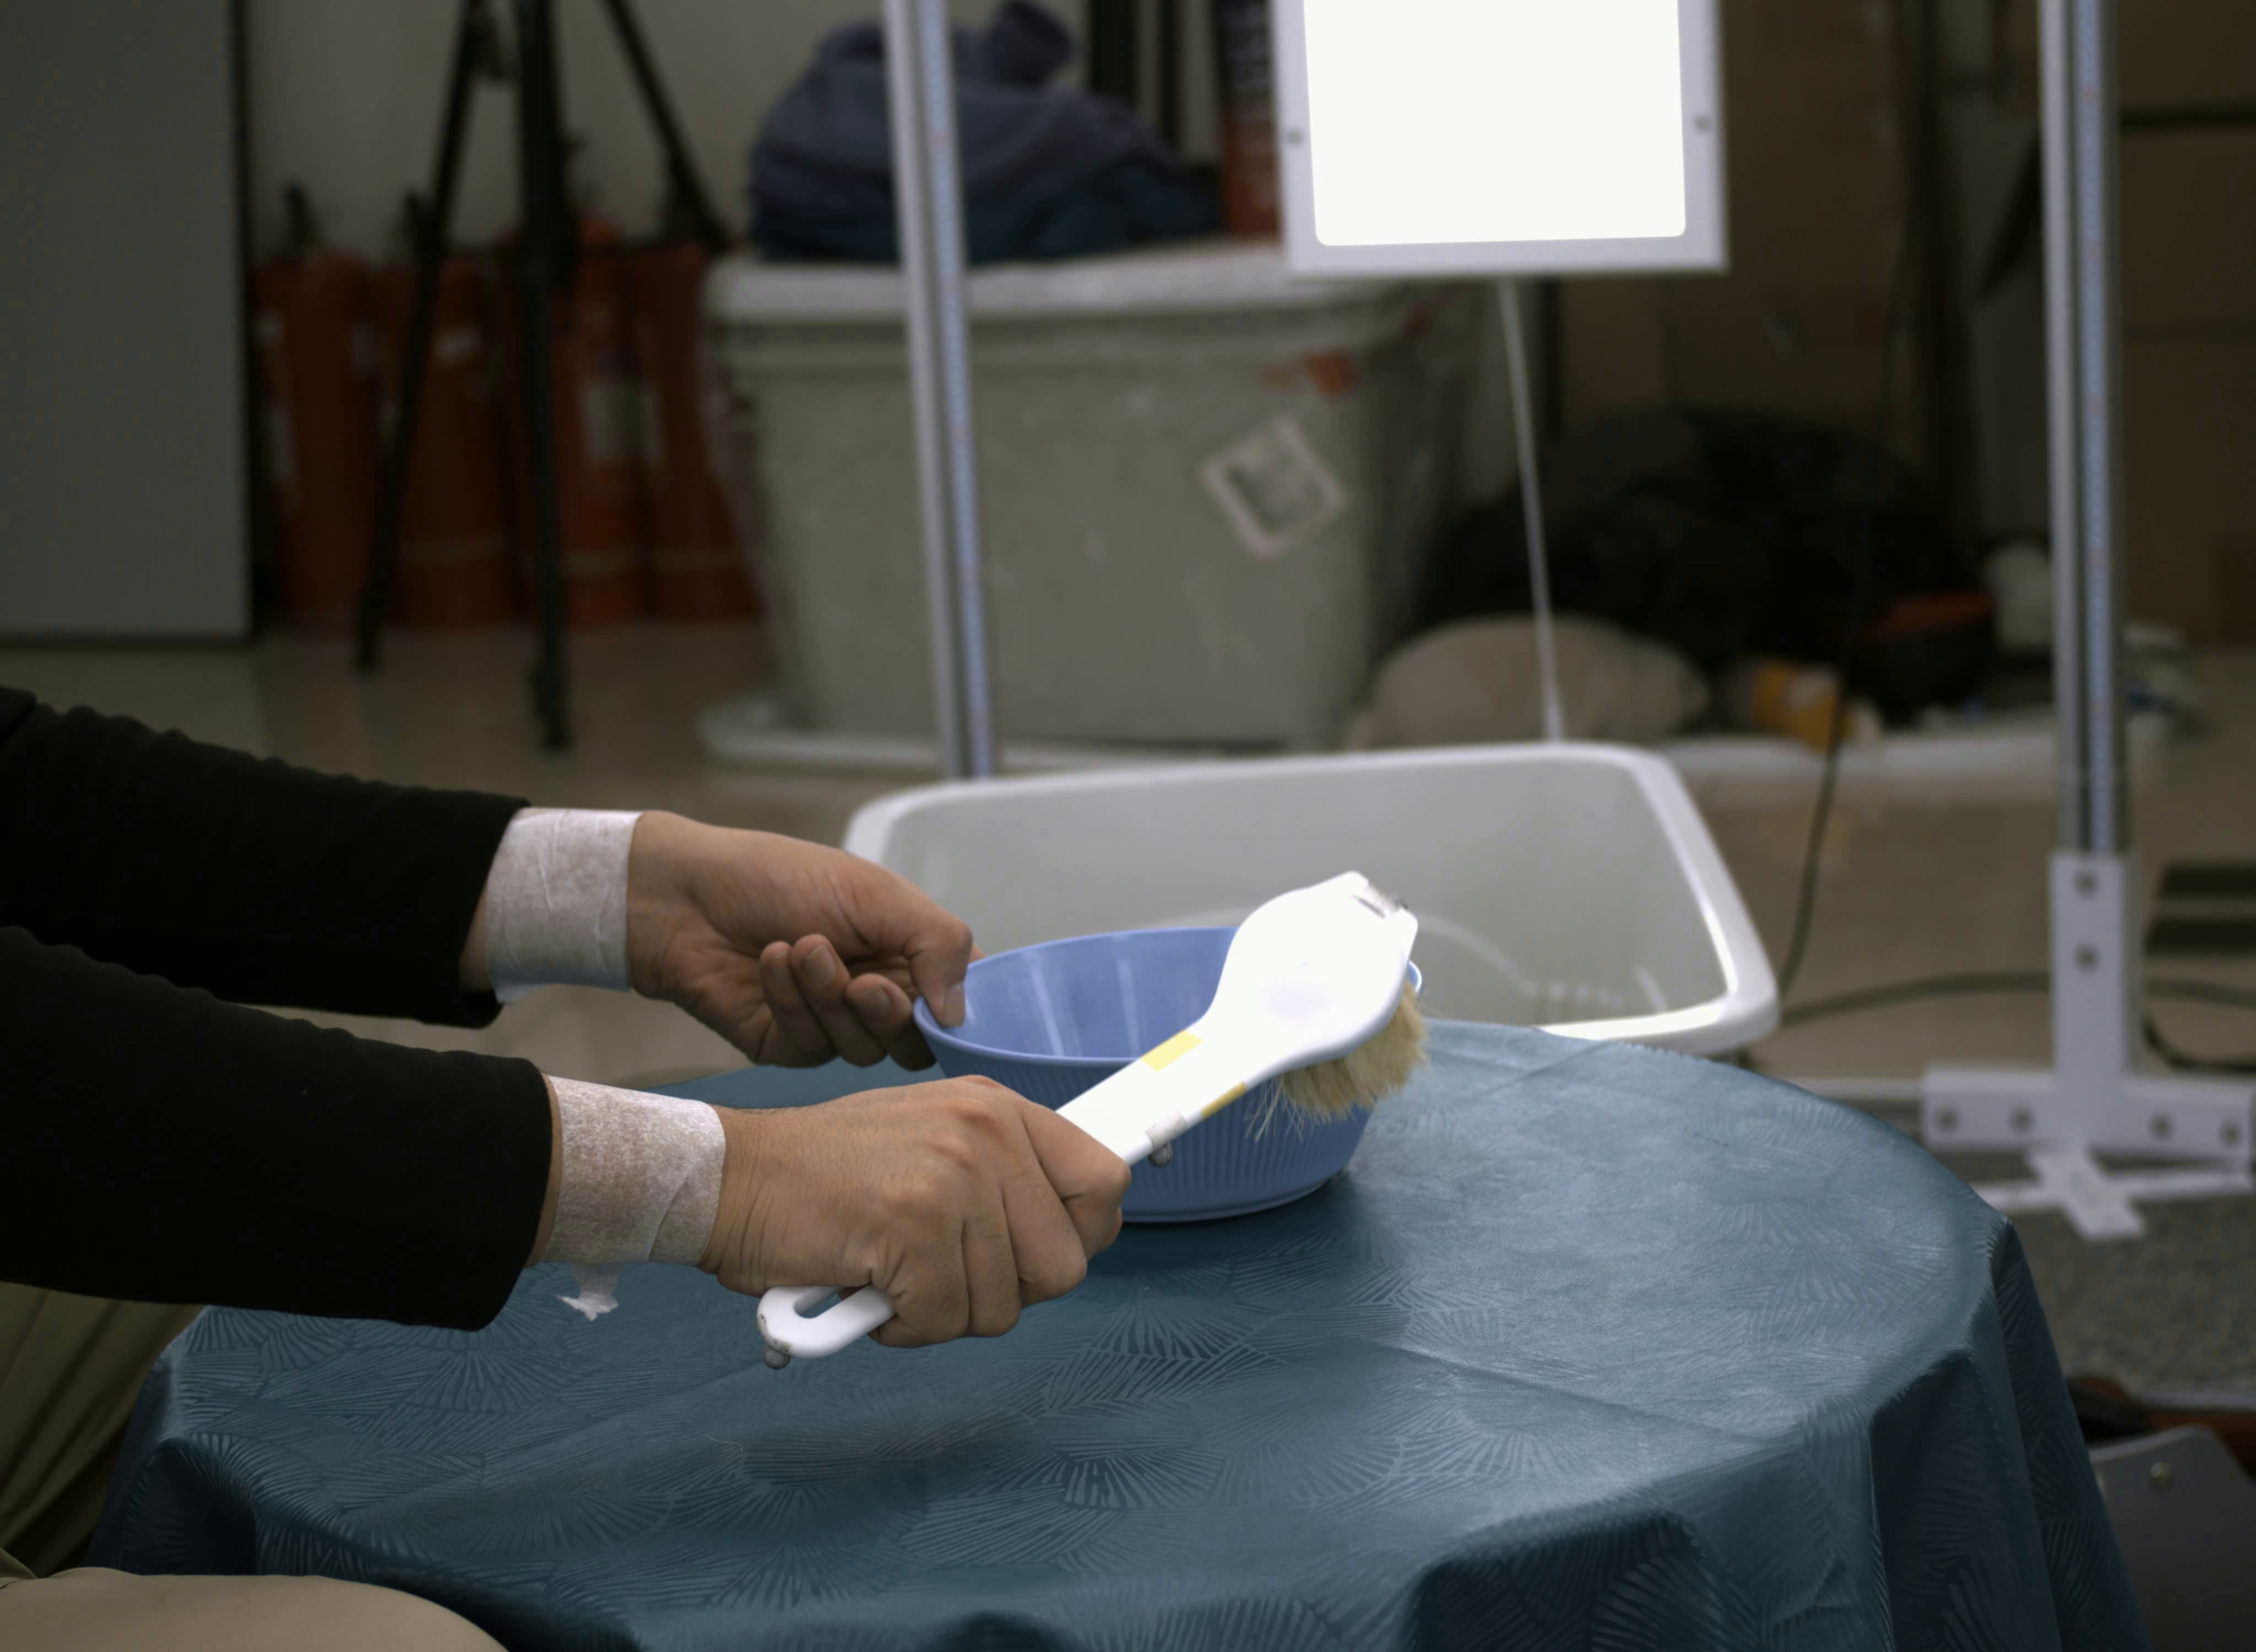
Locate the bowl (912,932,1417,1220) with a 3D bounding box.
[{"bbox_3d":[0.015,0.088,1.895,0.175,0.070,0.176,-5,12,0],"label":"bowl"}]

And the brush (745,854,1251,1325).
[{"bbox_3d":[-0.043,0.097,1.725,0.069,0.056,0.261,11,37,27],"label":"brush"}]
